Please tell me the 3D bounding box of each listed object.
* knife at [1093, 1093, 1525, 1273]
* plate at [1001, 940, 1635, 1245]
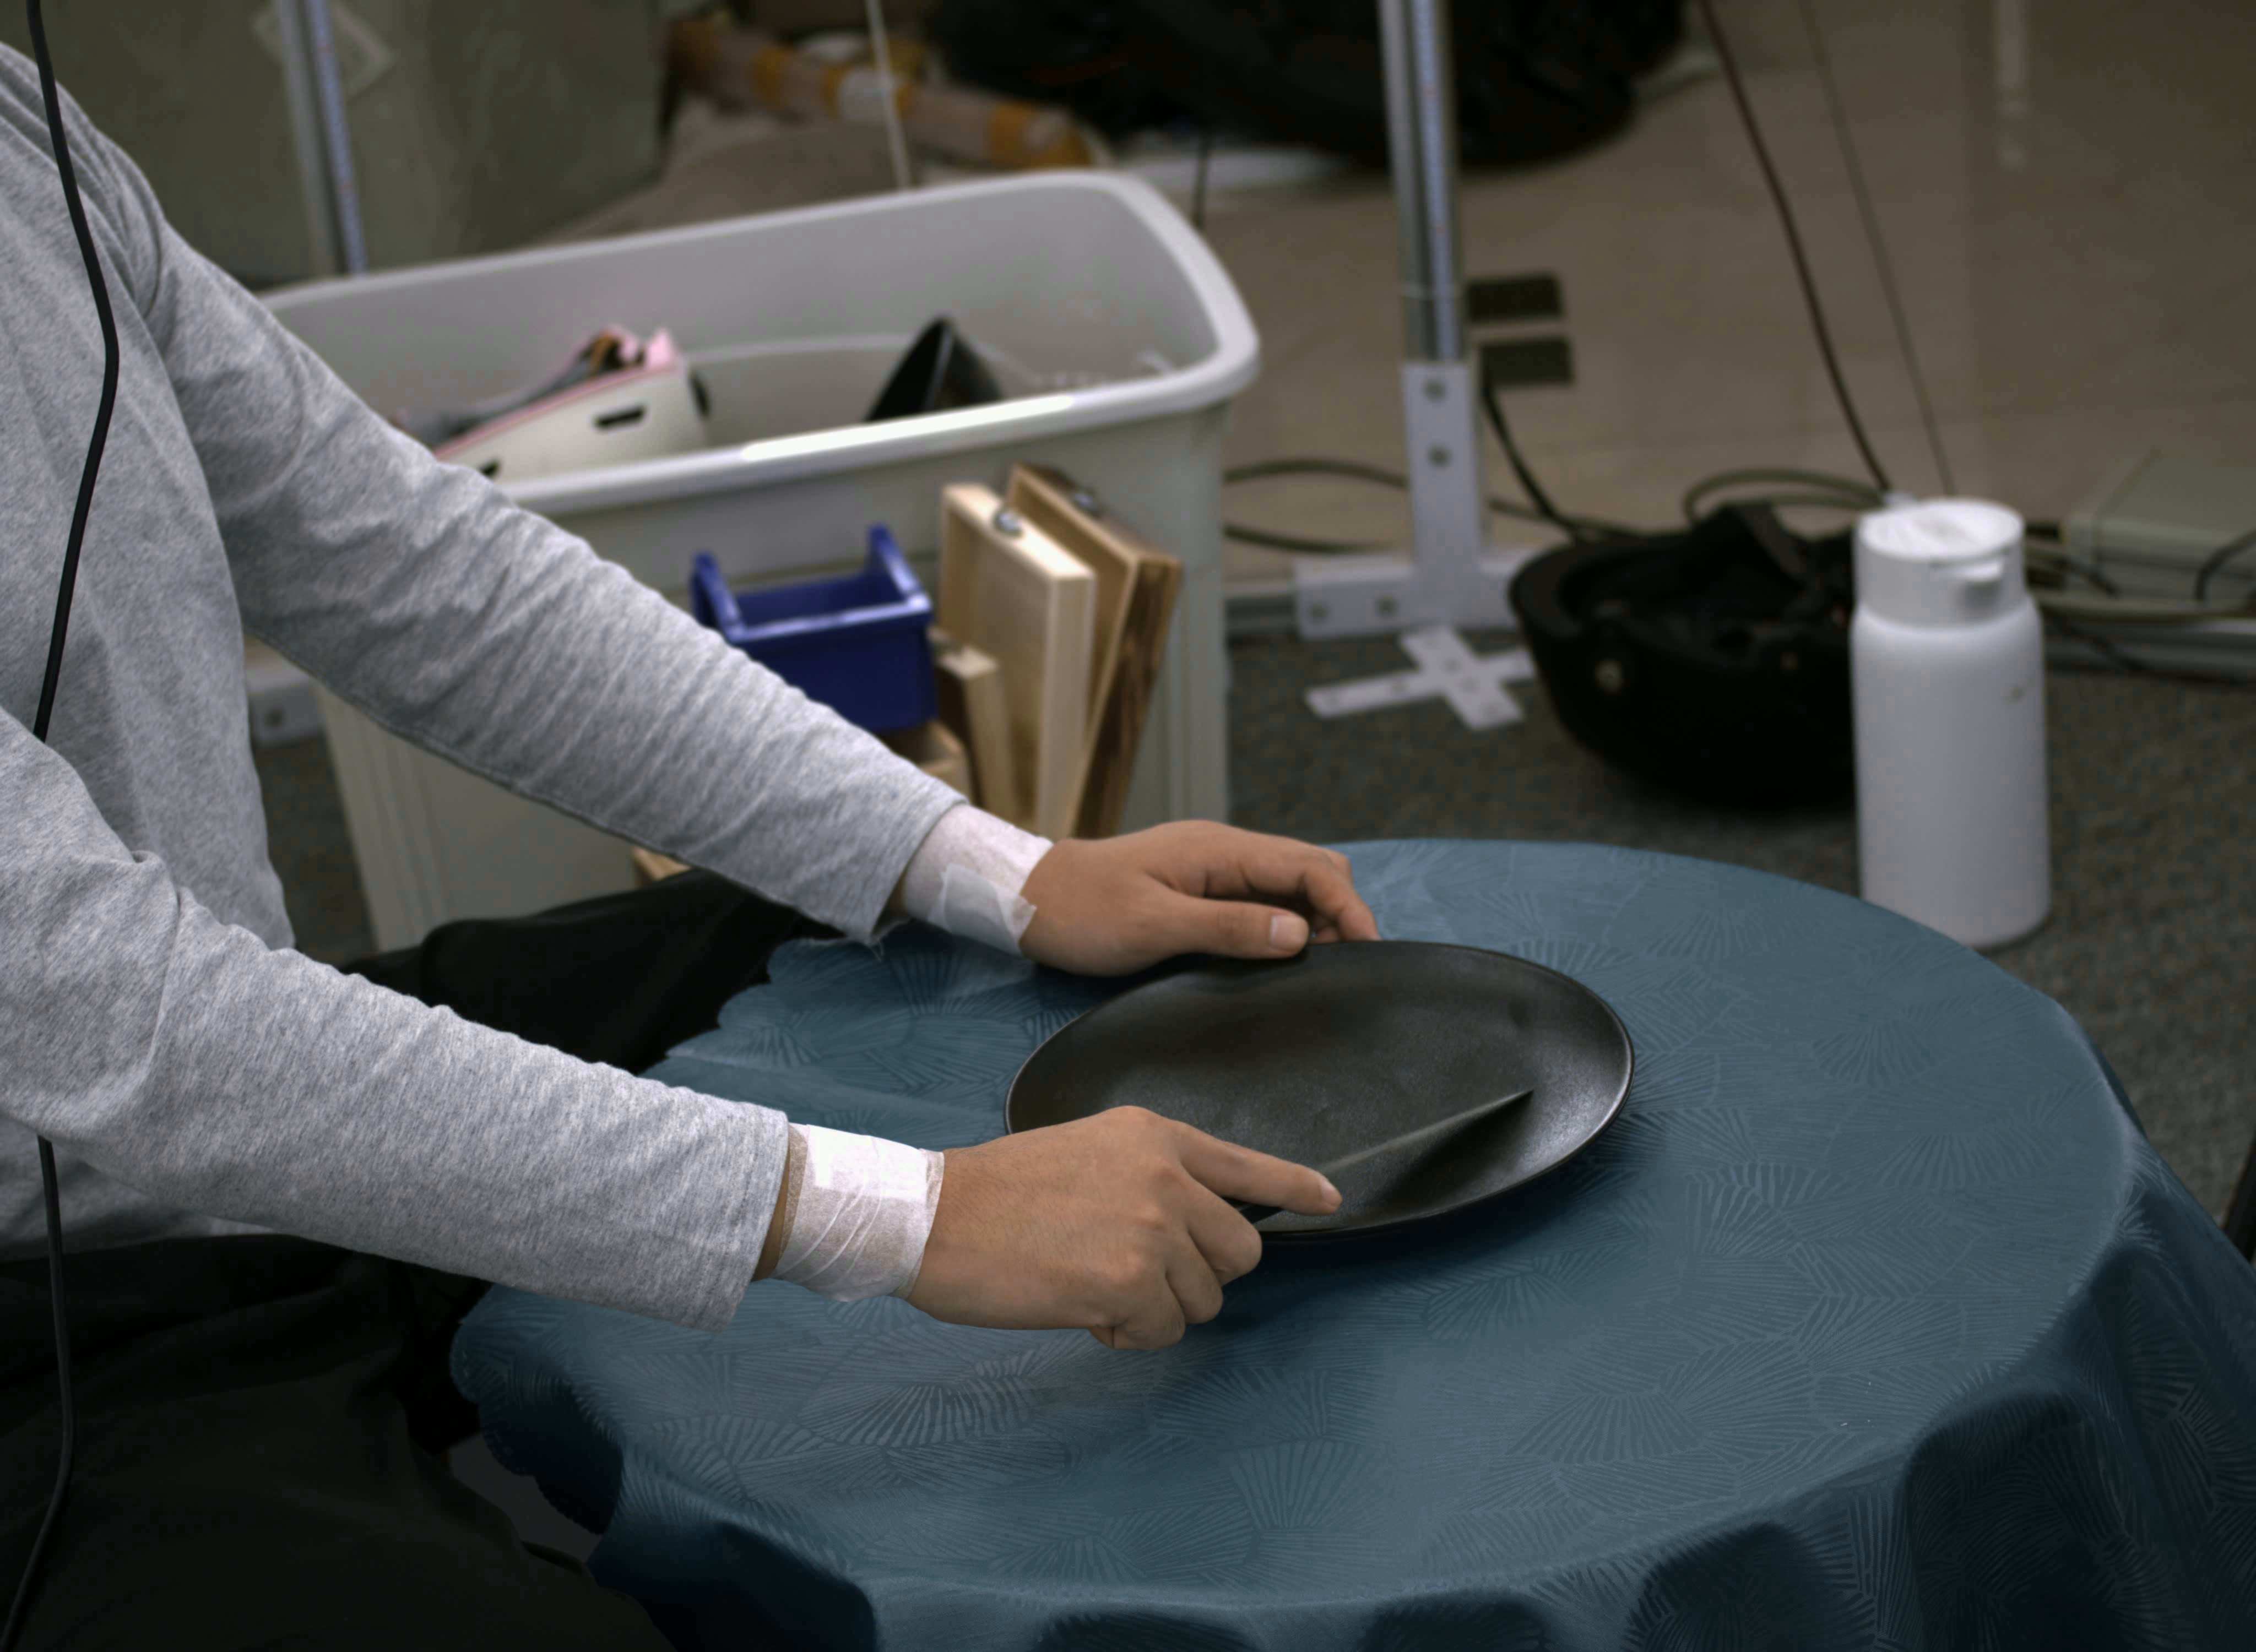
[{"bbox_3d":[0.074,0.127,2.092,0.024,0.016,0.237,-8,7,45],"label":"knife"},{"bbox_3d":[0.073,0.107,2.176,0.244,0.024,0.241,-5,25,3],"label":"plate"}]
